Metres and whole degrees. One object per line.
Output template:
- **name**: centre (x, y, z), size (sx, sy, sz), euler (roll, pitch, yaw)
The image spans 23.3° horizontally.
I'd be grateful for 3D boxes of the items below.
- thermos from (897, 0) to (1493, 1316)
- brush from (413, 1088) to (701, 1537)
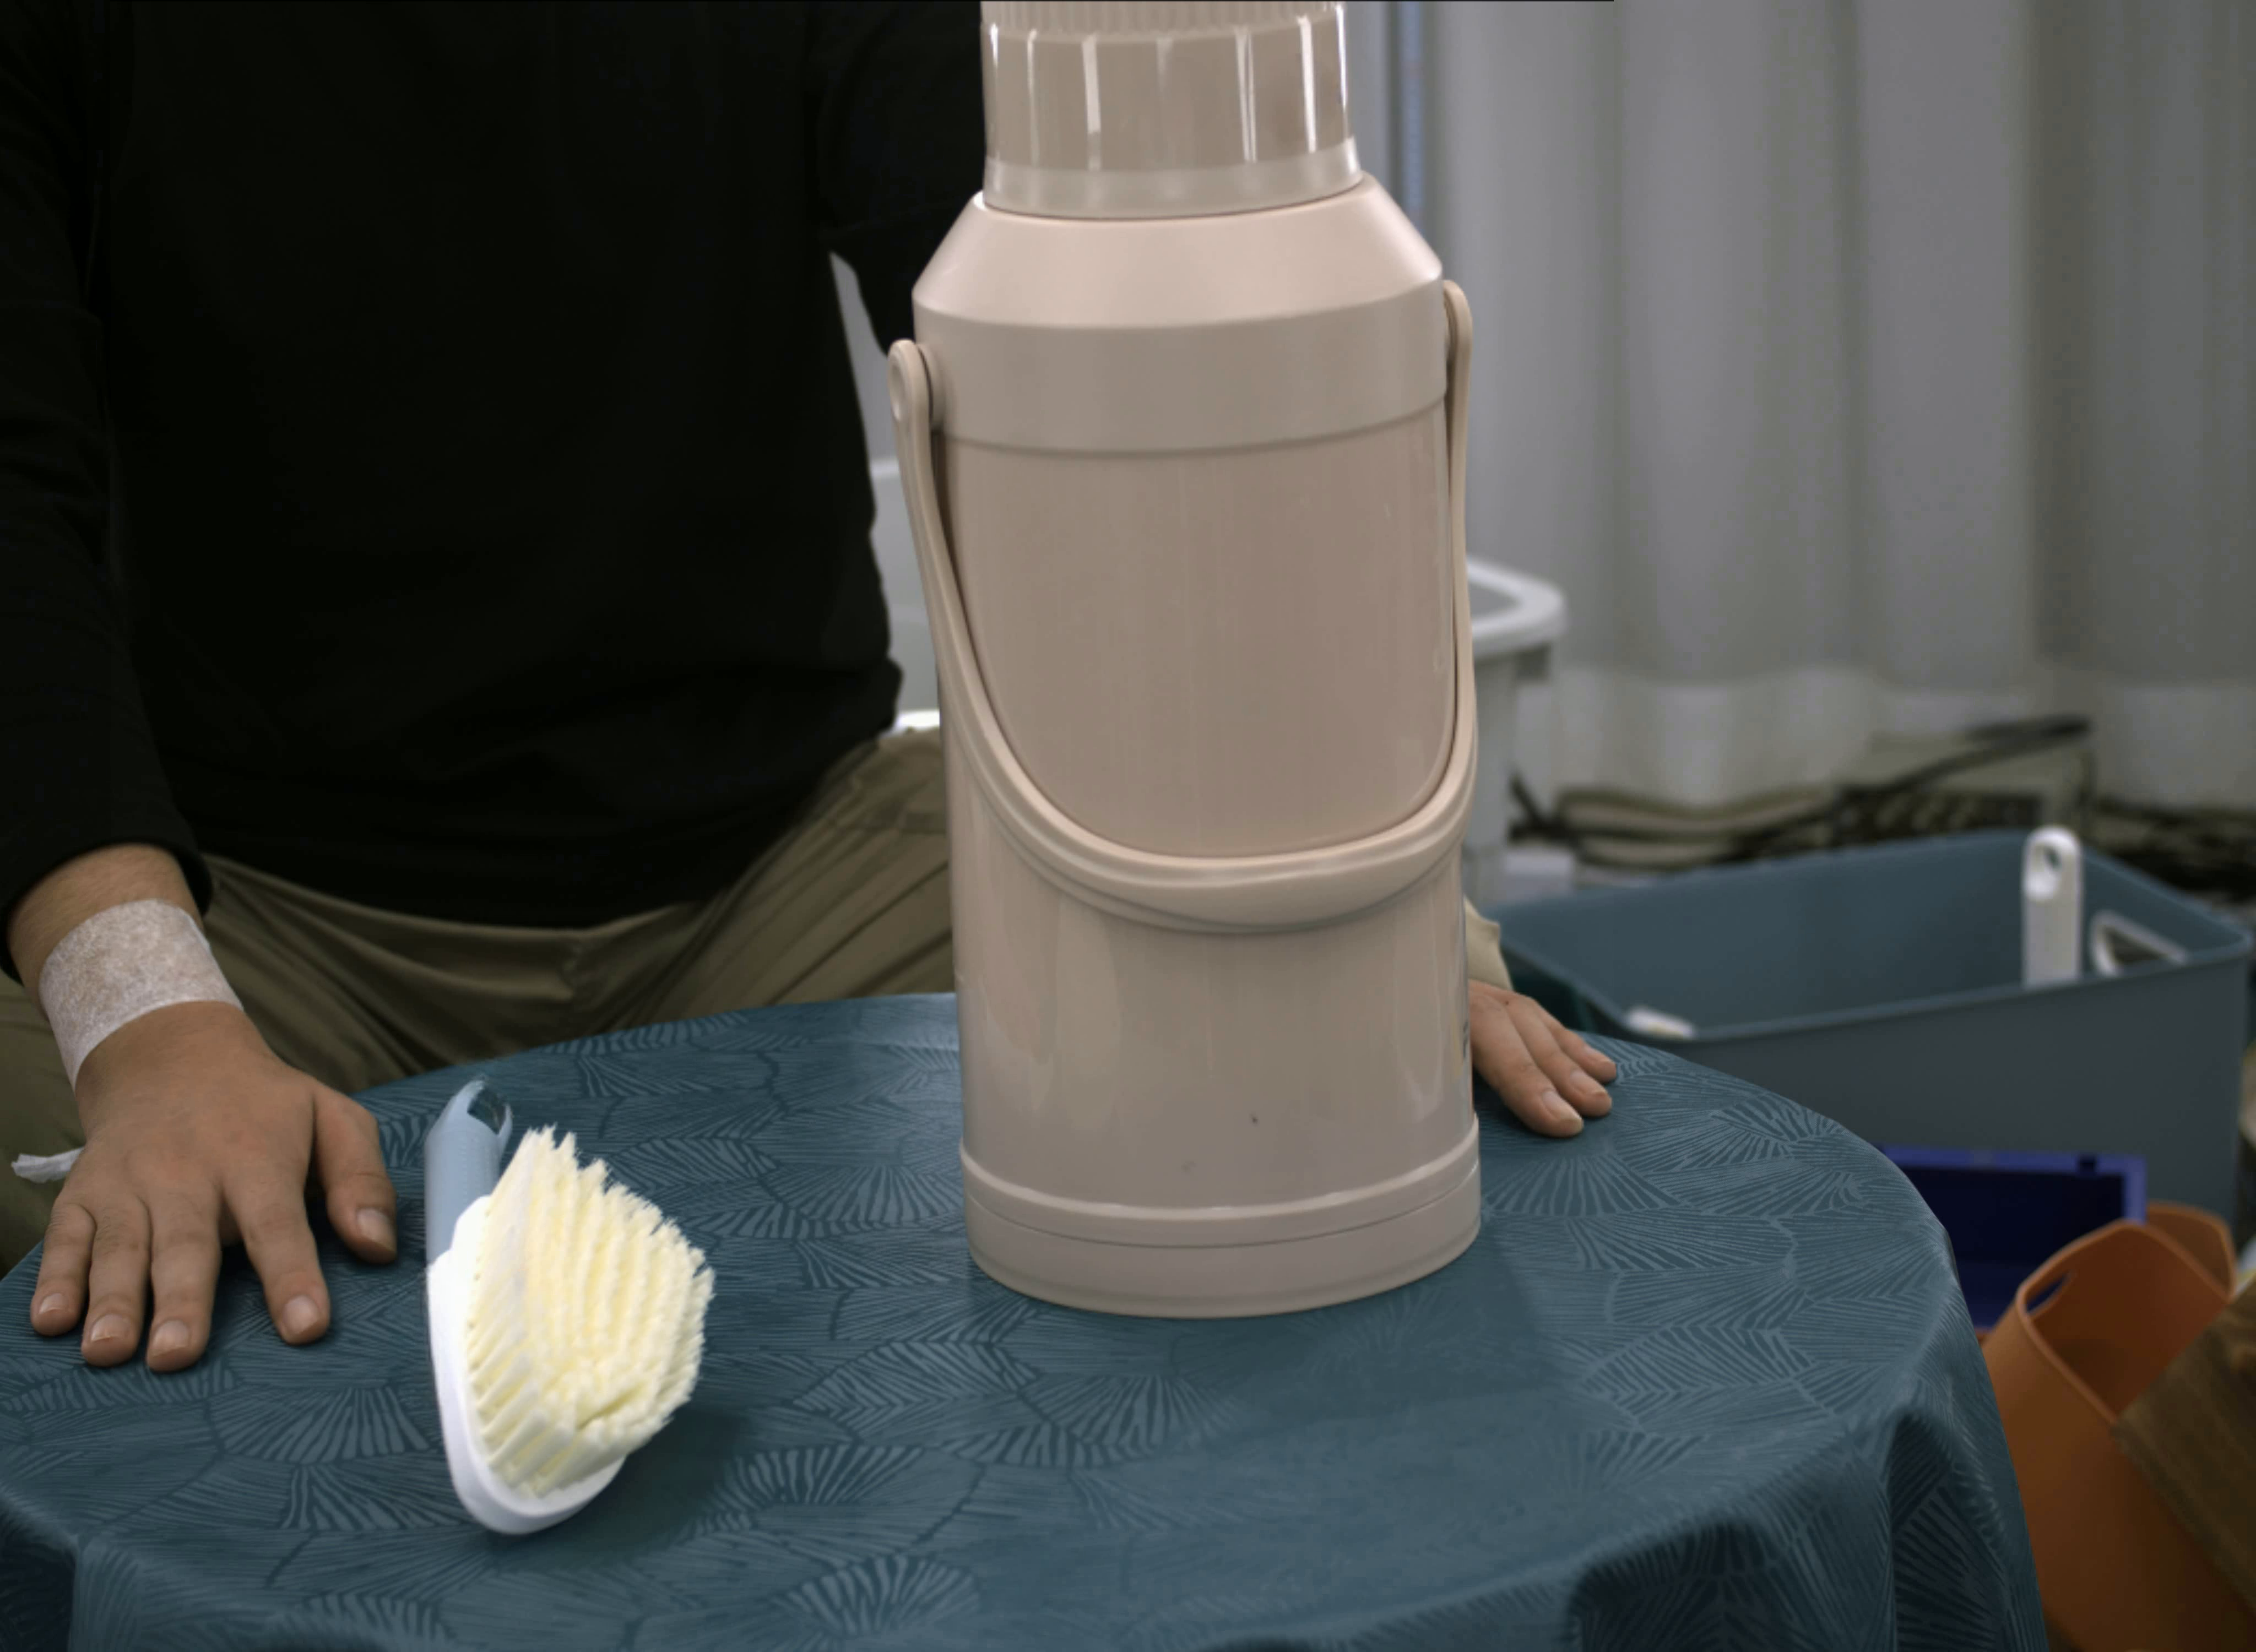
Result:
- **thermos**: centre (0.019, -0.071, 1.642), size (0.174, 0.404, 0.208), euler (-9, 15, -18)
- **brush**: centre (-0.171, 0.112, 1.601), size (0.084, 0.082, 0.328), euler (-10, 17, -5)
